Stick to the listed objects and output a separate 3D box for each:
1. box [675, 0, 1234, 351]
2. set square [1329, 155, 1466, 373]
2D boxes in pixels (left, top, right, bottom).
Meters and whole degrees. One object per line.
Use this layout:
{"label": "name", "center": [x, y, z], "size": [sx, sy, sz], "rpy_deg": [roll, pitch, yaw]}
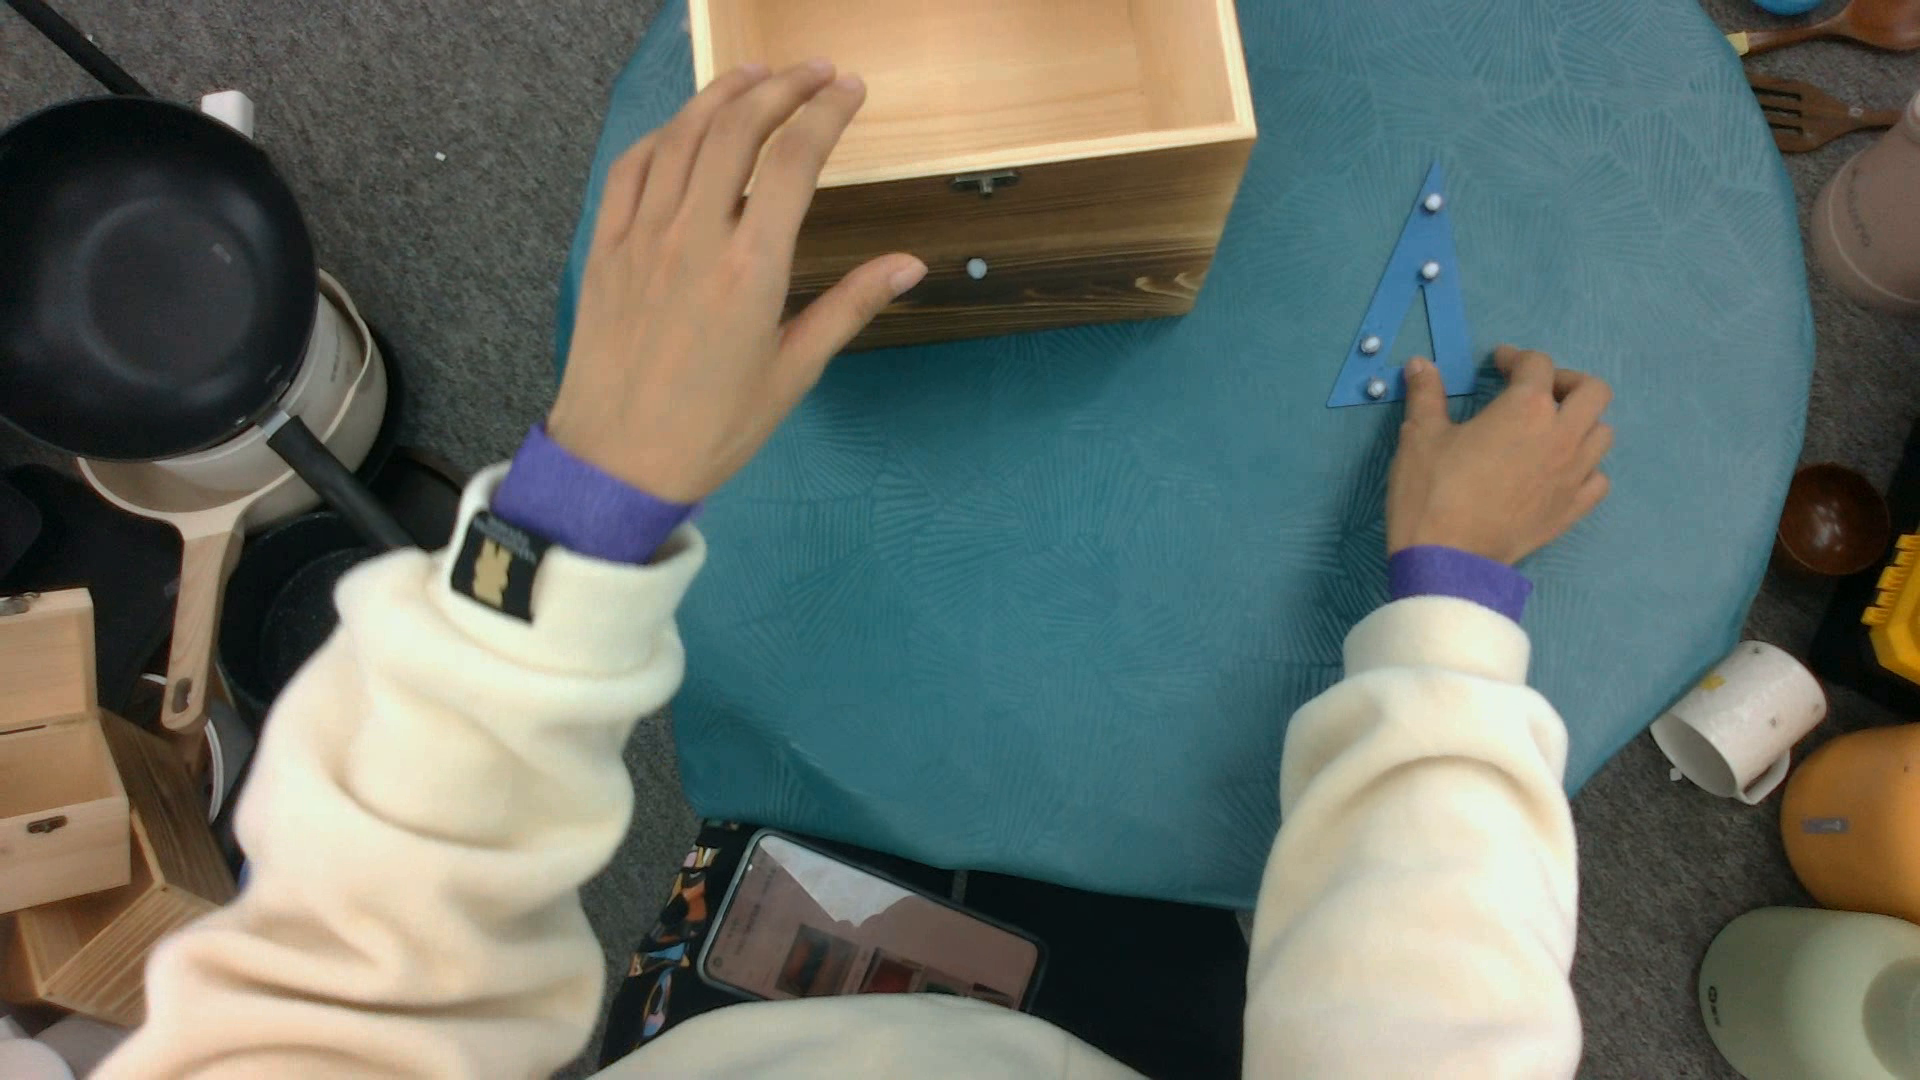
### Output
{"label": "box", "center": [-0.019, -0.288, 0.527], "size": [0.209, 0.374, 0.322], "rpy_deg": [-8, 76, 0]}
{"label": "set square", "center": [0.232, -0.126, 0.667], "size": [0.061, 0.006, 0.132], "rpy_deg": [27, 79, 9]}
